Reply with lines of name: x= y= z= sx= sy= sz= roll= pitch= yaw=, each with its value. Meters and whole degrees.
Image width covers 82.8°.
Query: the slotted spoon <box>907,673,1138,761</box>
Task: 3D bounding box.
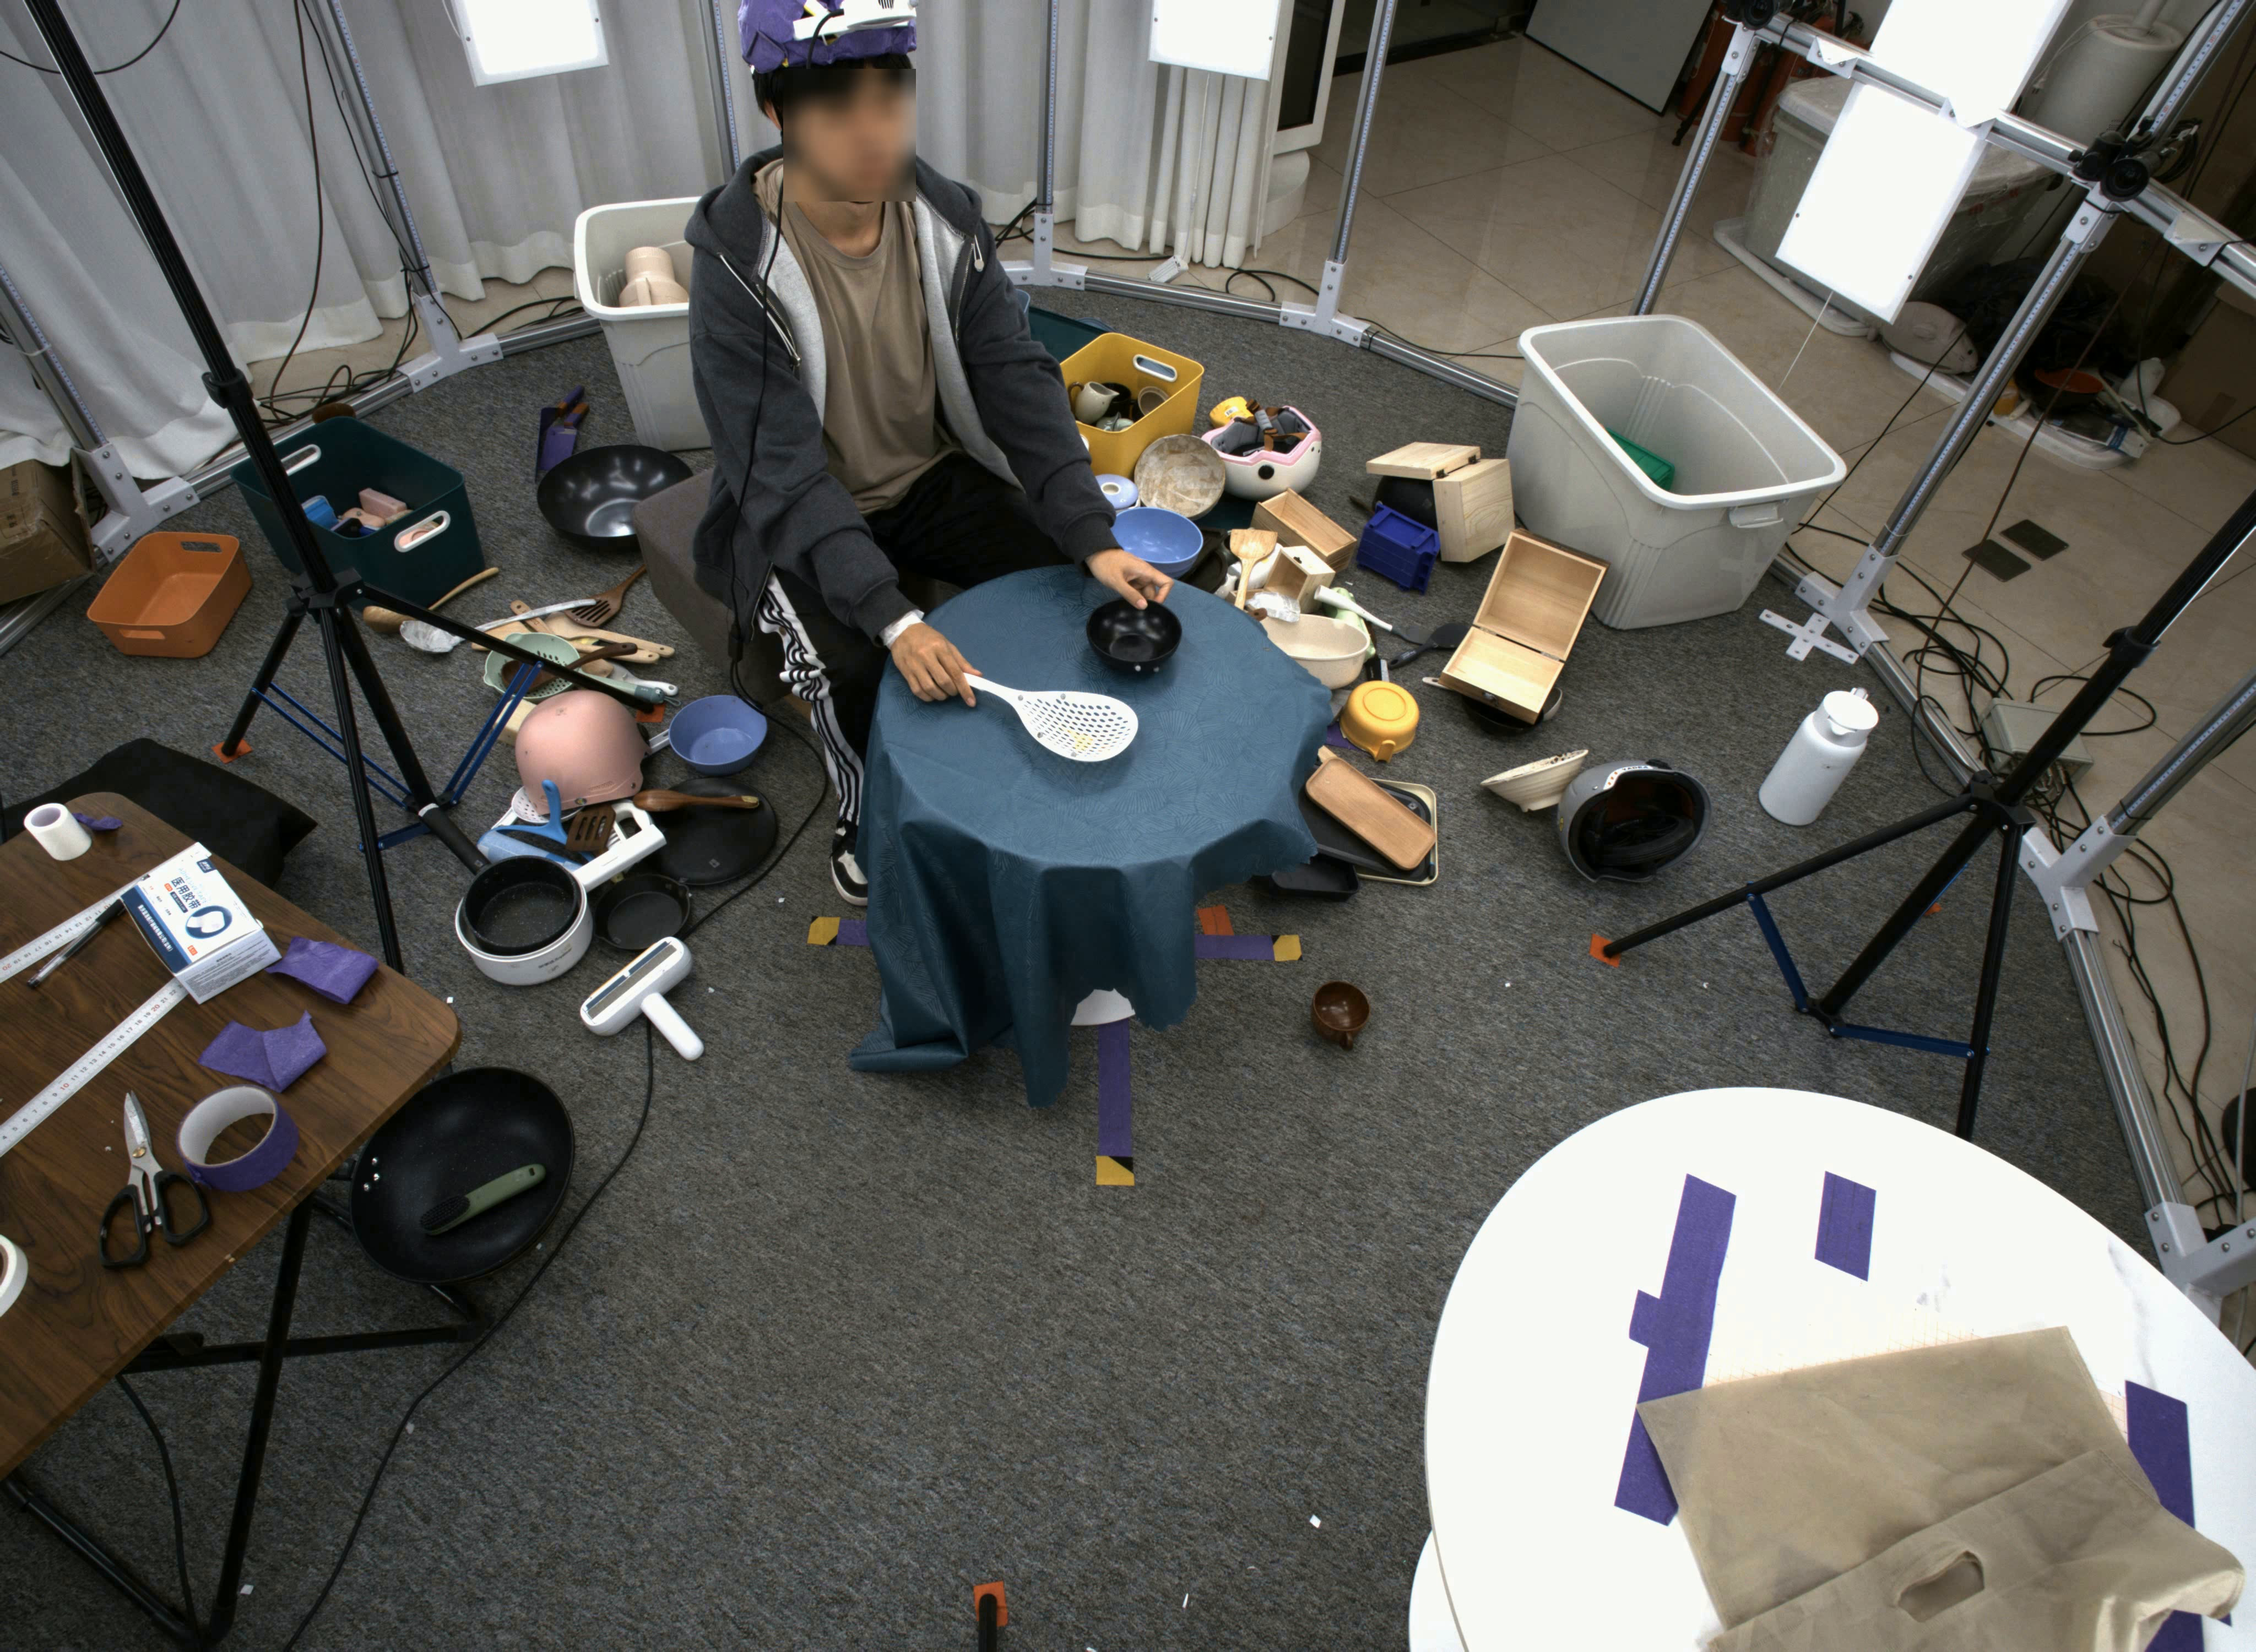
slotted spoon: x=-0.153 y=-0.168 z=1.776 sx=0.350 sy=0.049 sz=0.139 roll=23 pitch=51 yaw=16

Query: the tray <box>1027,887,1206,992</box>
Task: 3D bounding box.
tray: x=-0.019 y=0.194 z=2.202 sx=0.300 sy=0.027 sz=0.196 roll=3 pitch=49 yaw=-3
